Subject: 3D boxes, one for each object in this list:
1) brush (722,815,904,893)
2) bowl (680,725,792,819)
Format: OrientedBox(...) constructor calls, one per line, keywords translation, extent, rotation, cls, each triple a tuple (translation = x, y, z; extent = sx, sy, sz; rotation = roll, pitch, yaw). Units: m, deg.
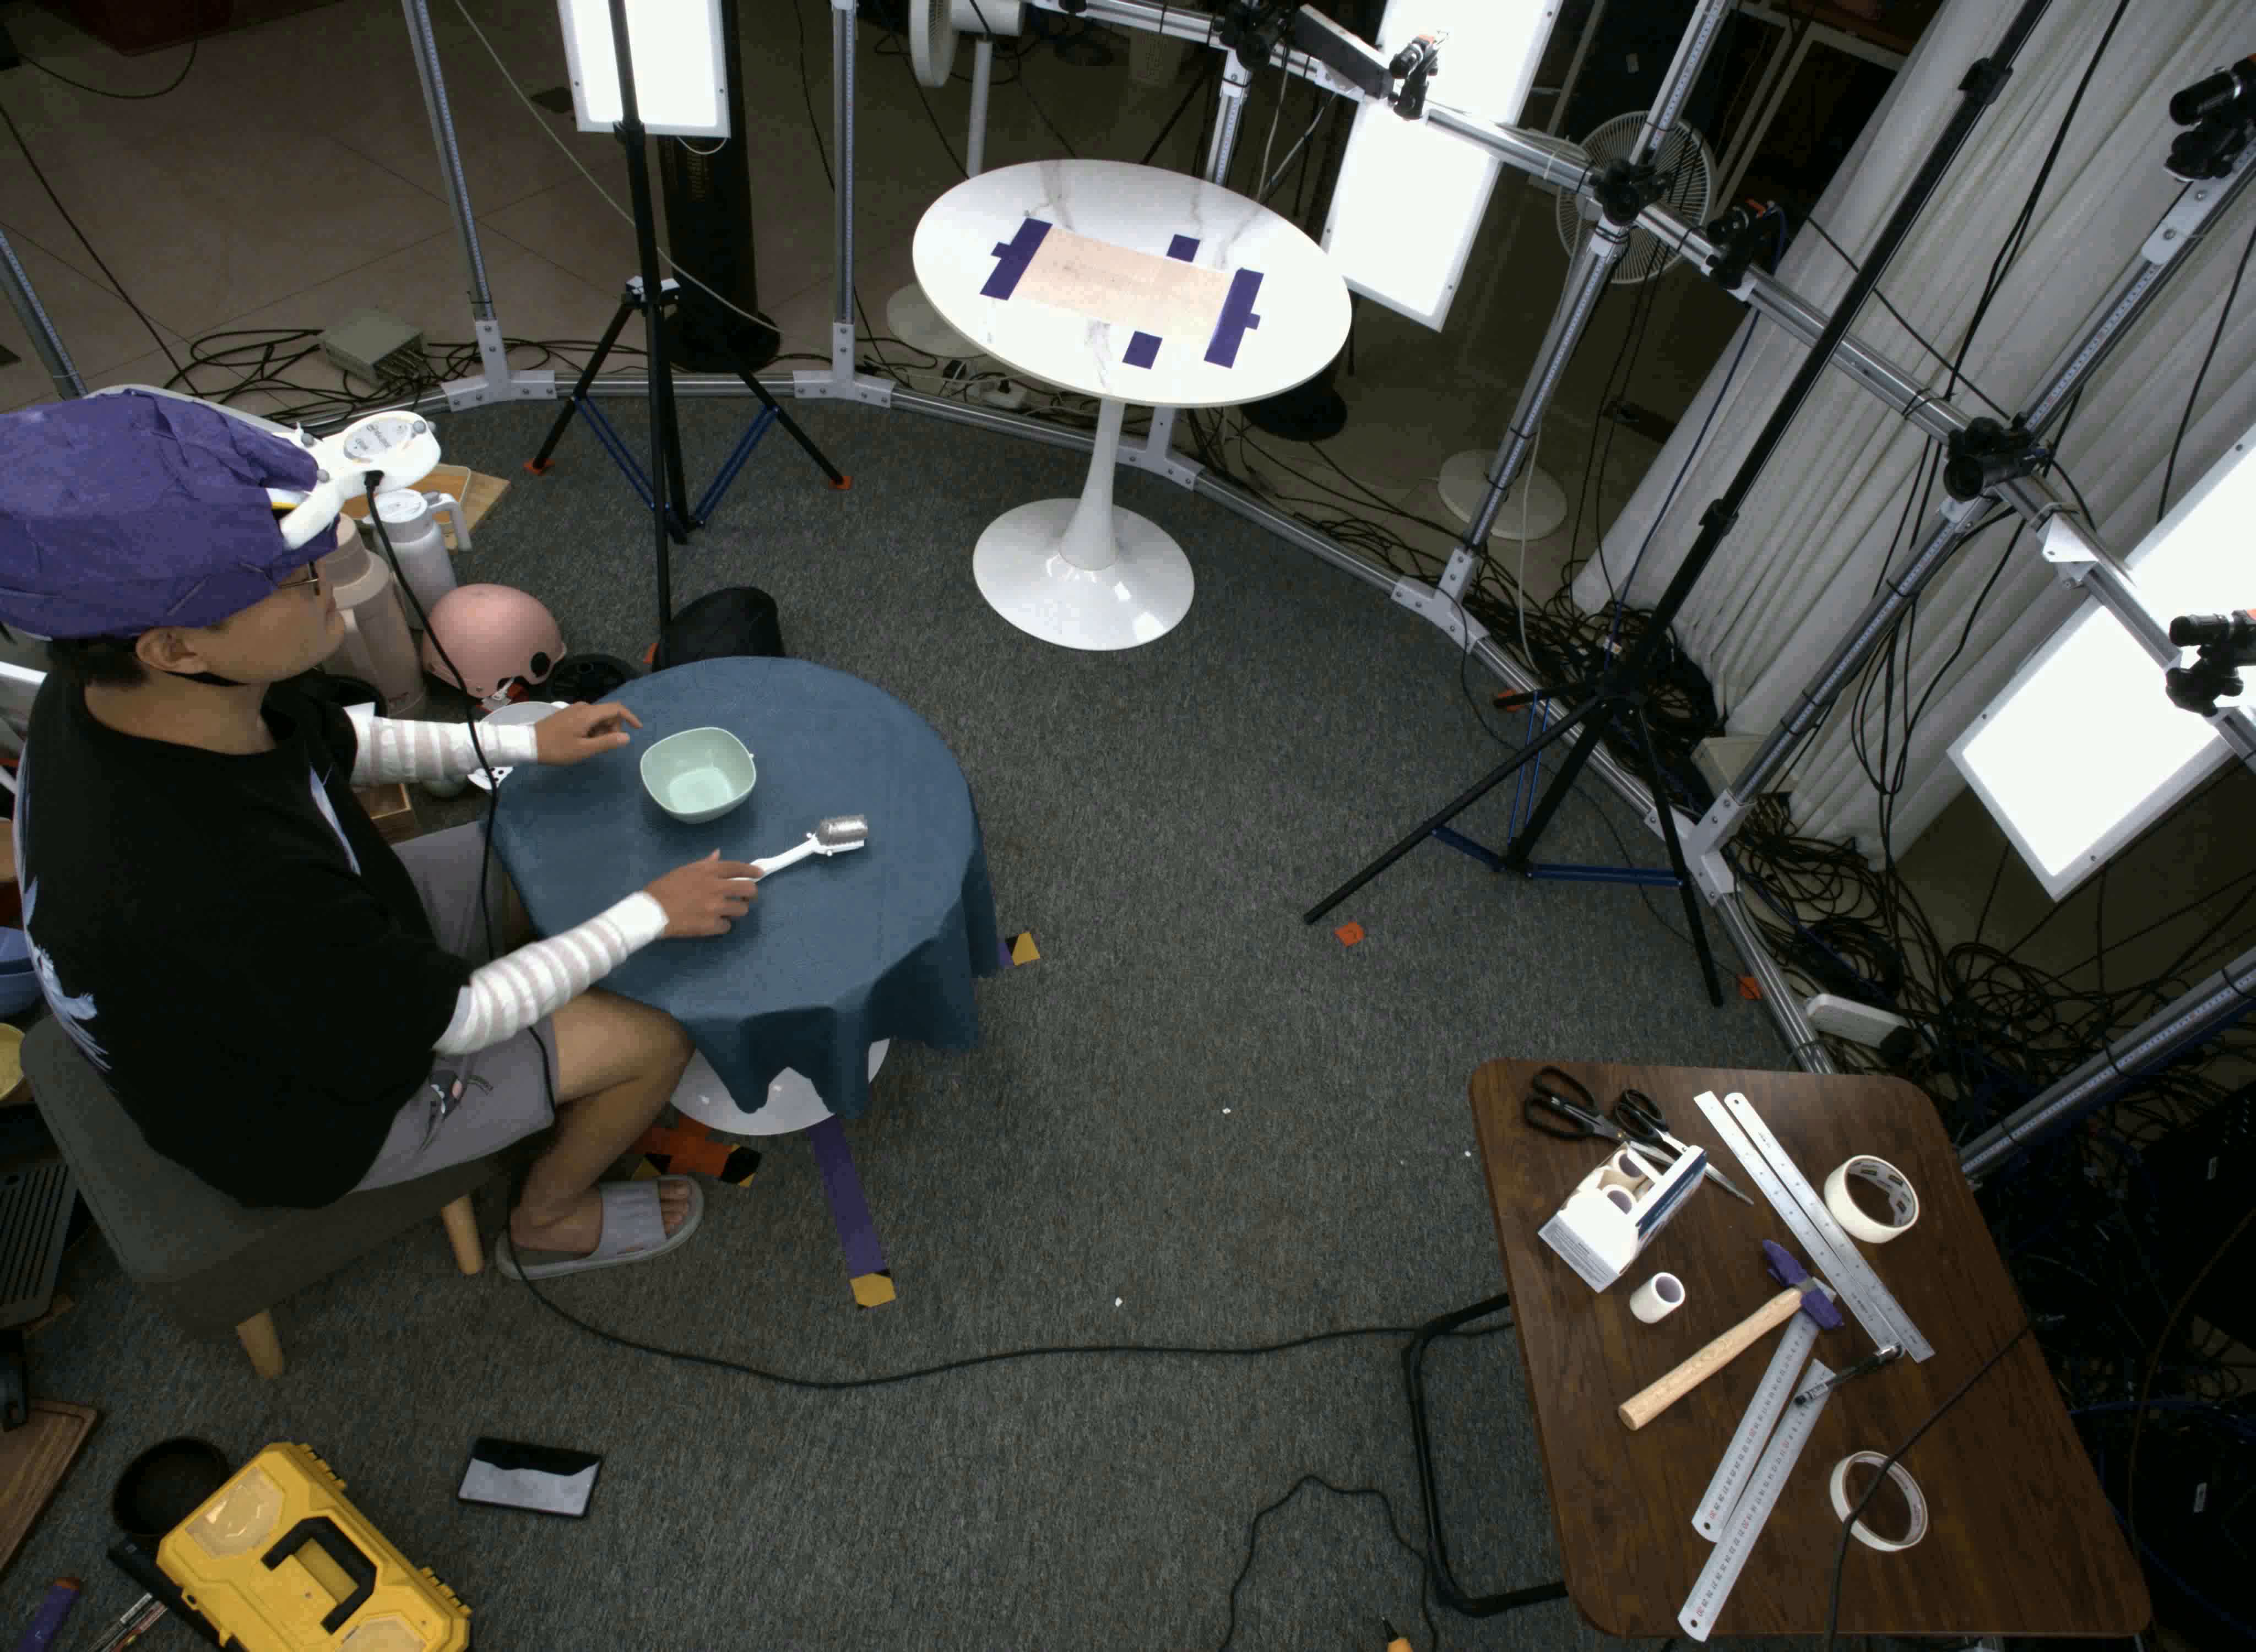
OrientedBox(translation=(-0.408, 0.032, 1.682), extent=(0.245, 0.051, 0.033), rotation=(-17, 57, -25), cls="brush")
OrientedBox(translation=(-0.520, -0.064, 1.718), extent=(0.151, 0.060, 0.148), rotation=(8, 49, -8), cls="bowl")
